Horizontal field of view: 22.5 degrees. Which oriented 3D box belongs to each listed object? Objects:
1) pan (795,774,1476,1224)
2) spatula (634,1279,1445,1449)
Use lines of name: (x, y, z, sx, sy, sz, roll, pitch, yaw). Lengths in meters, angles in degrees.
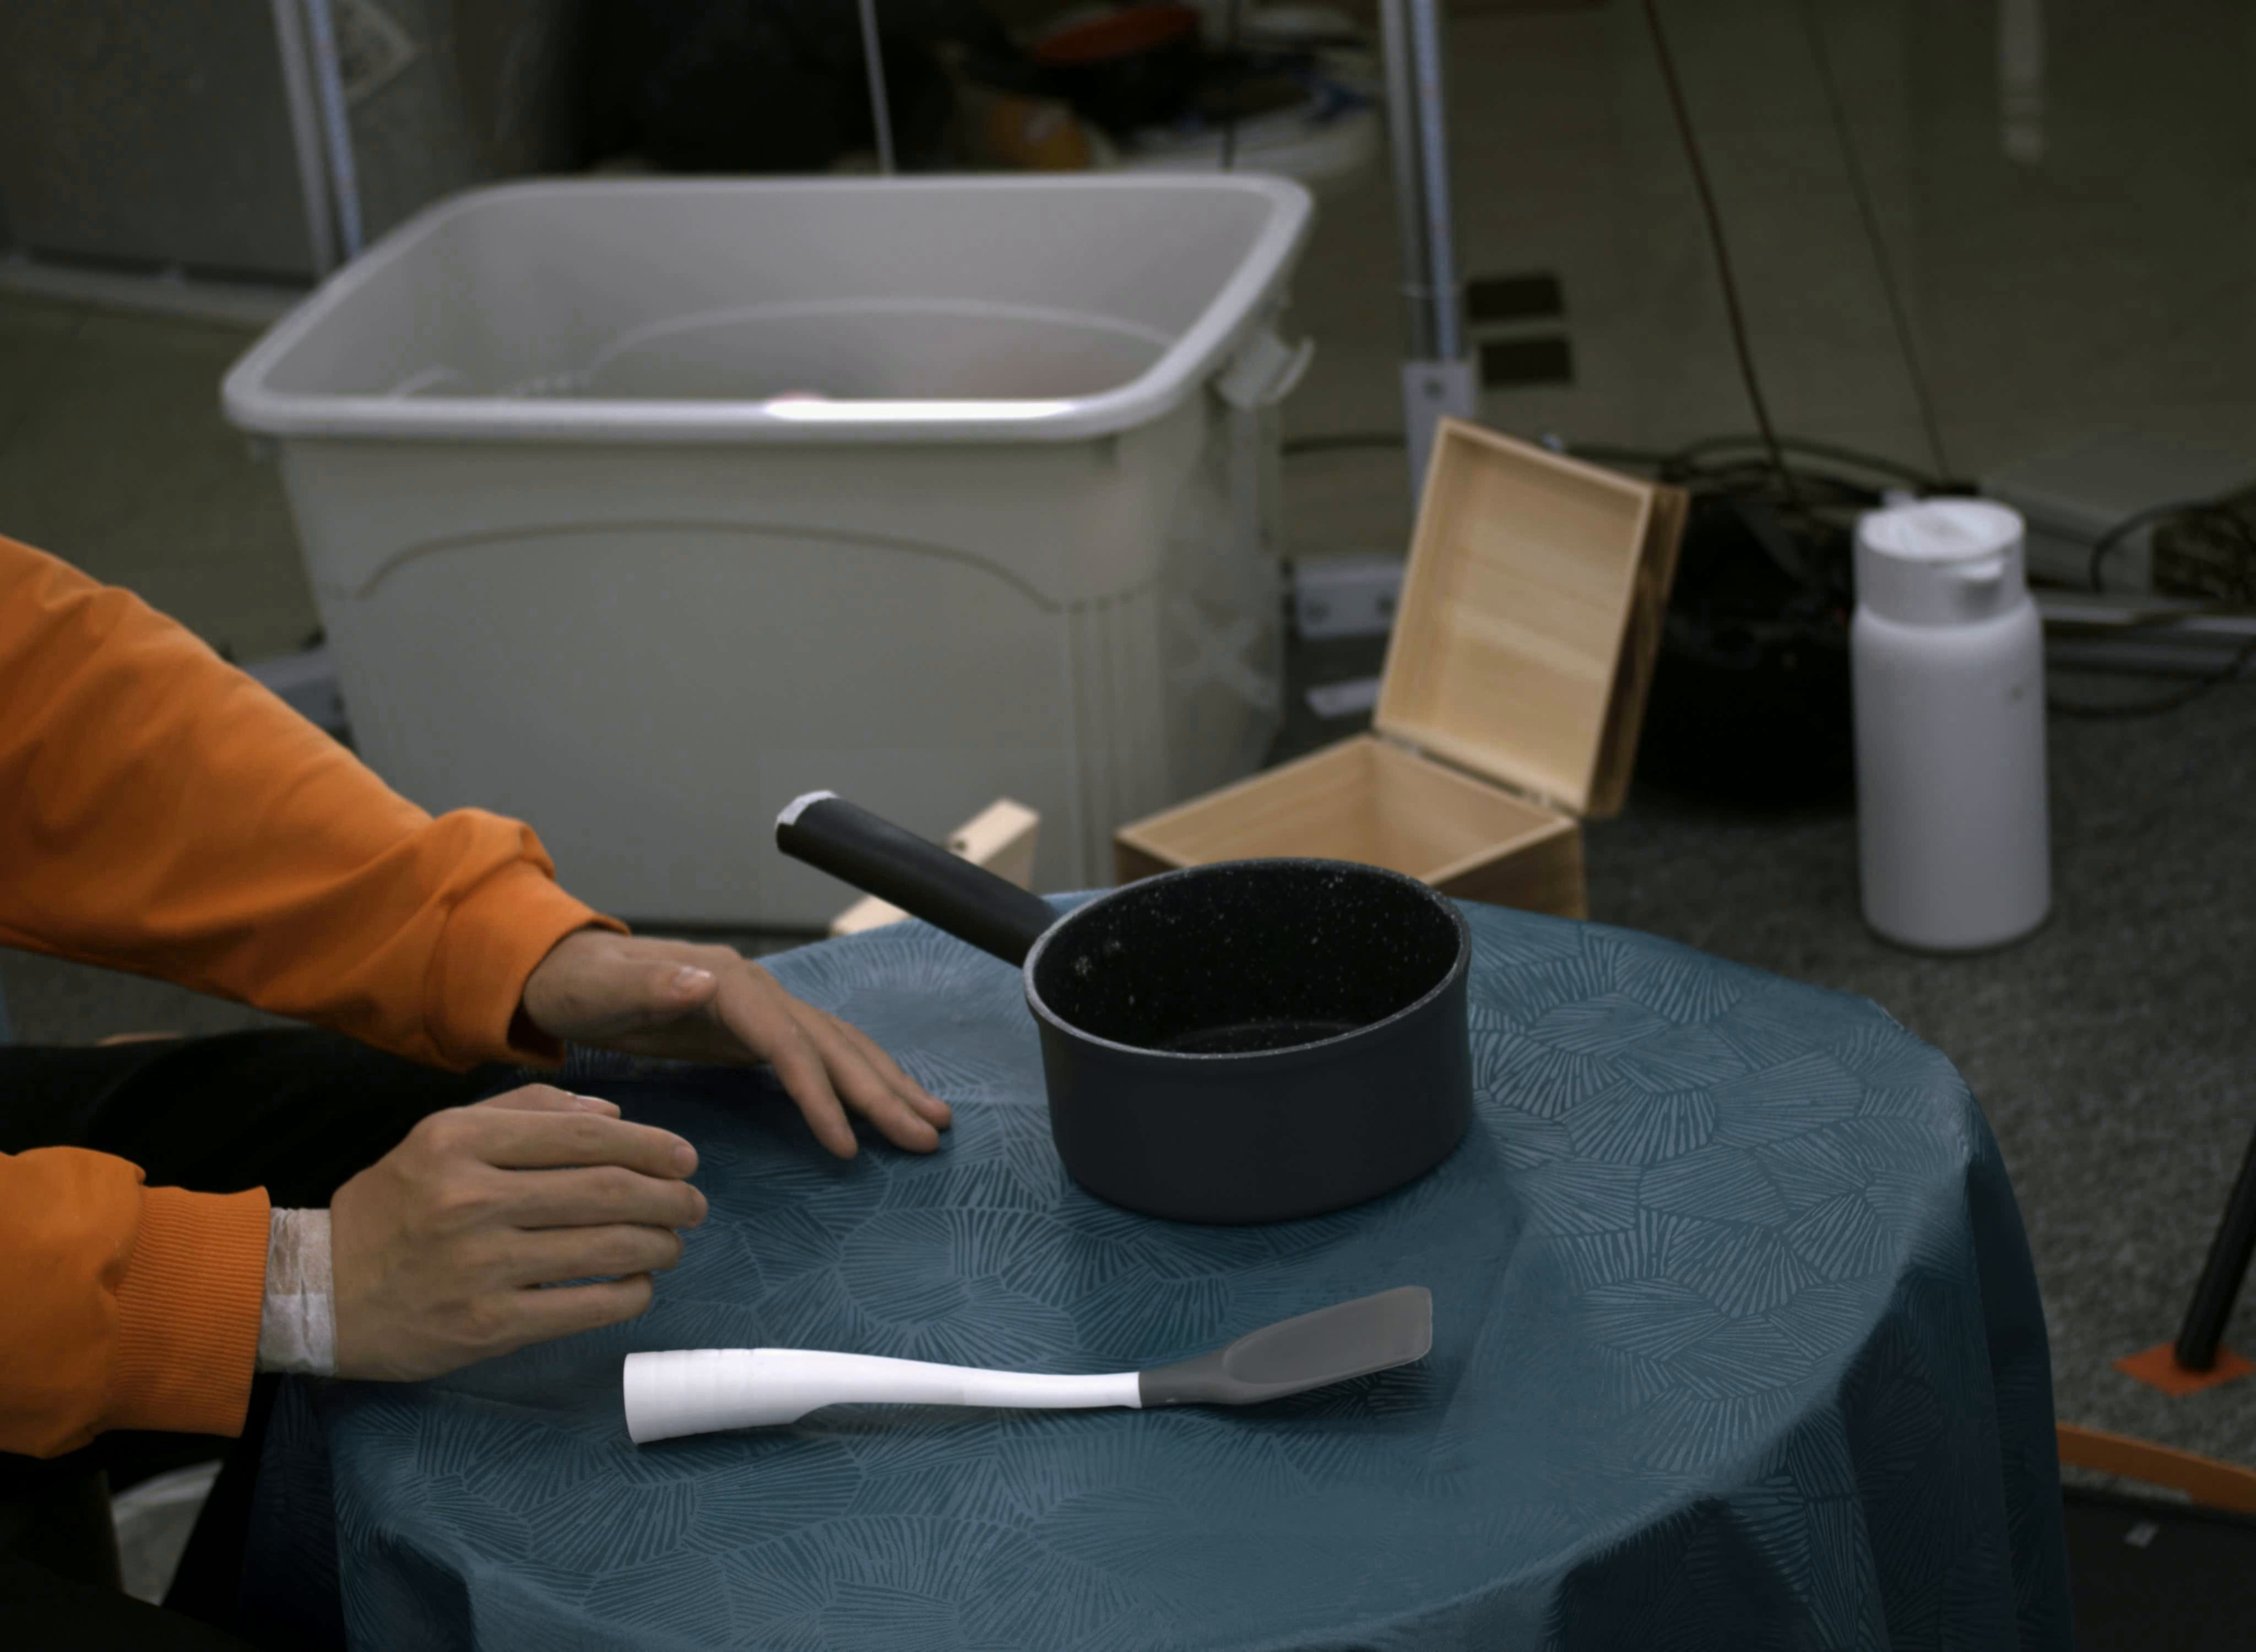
pan: (-0.008, 0.060, 2.215, 0.326, 0.088, 0.170, 19, 35, 40)
spatula: (-0.031, 0.192, 2.003, 0.287, 0.032, 0.058, -5, 22, 5)
